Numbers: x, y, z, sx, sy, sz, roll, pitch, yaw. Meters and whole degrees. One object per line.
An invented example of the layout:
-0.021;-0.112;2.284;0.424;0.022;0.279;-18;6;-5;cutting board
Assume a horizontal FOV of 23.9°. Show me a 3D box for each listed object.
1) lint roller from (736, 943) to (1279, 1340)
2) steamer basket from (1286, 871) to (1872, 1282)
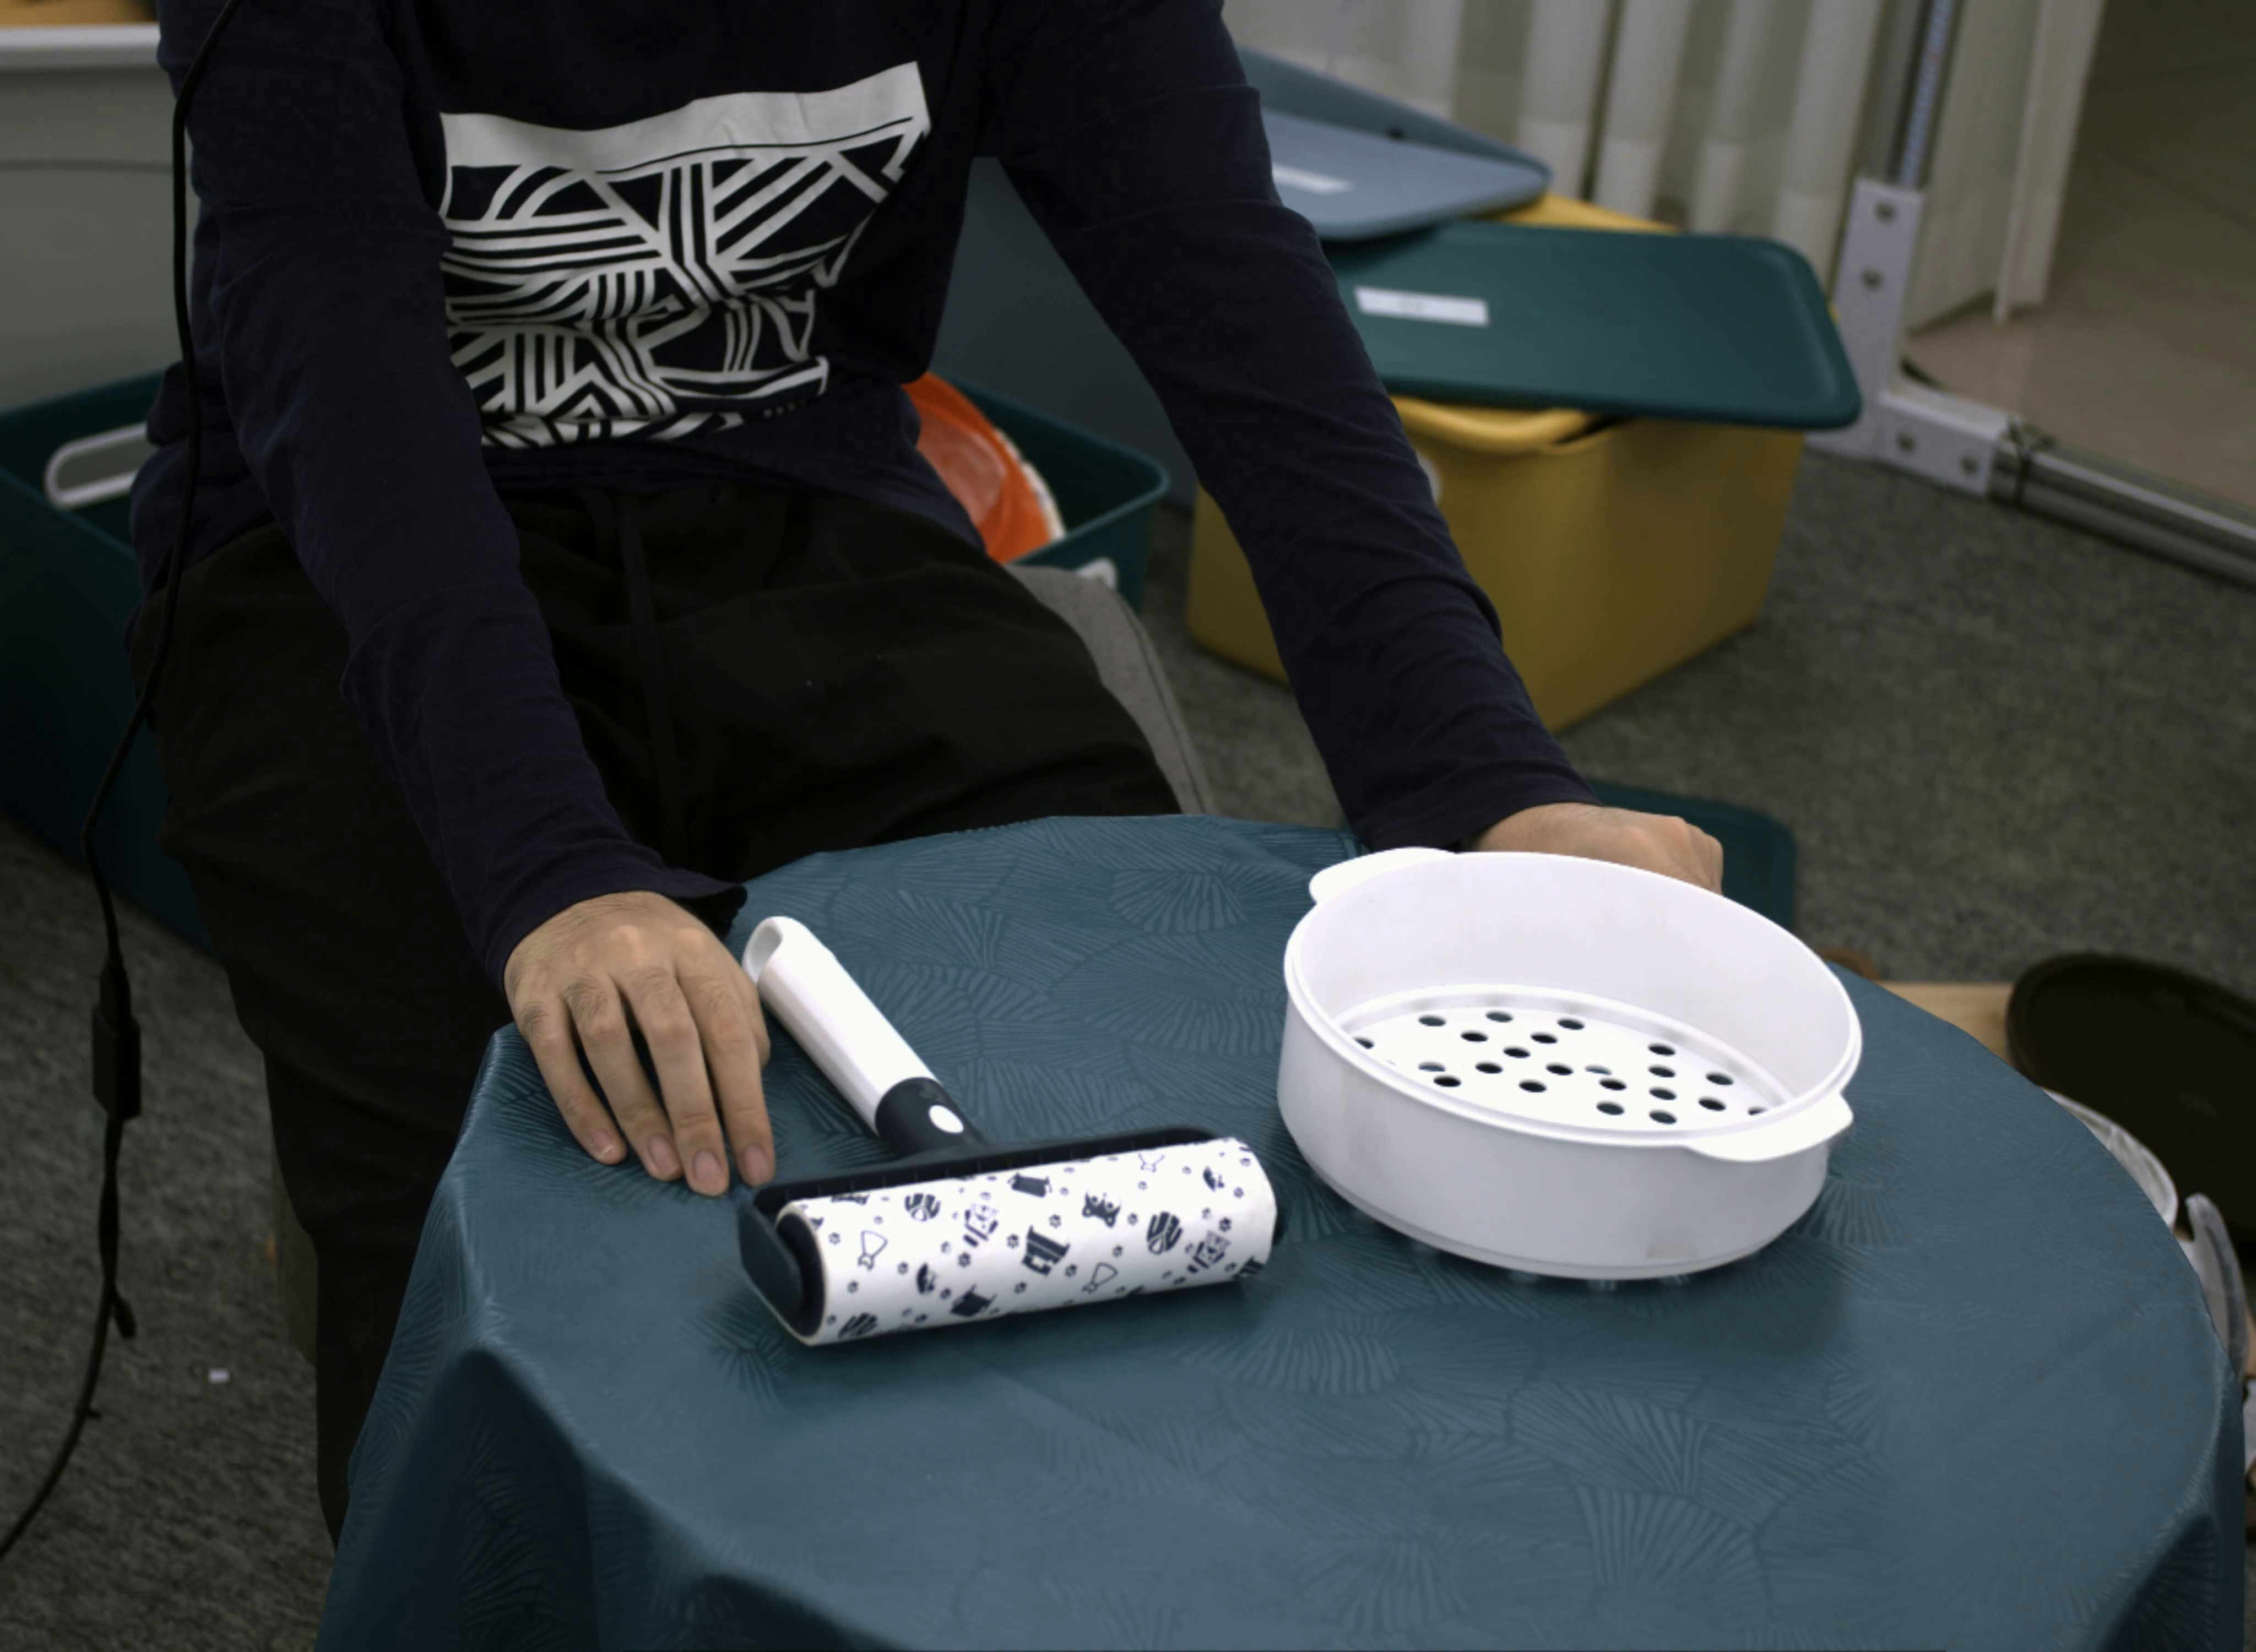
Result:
-0.080;0.092;1.807;0.175;0.050;0.249;-8;27;-25;lint roller
0.153;0.087;1.842;0.200;0.069;0.232;-14;30;-36;steamer basket
